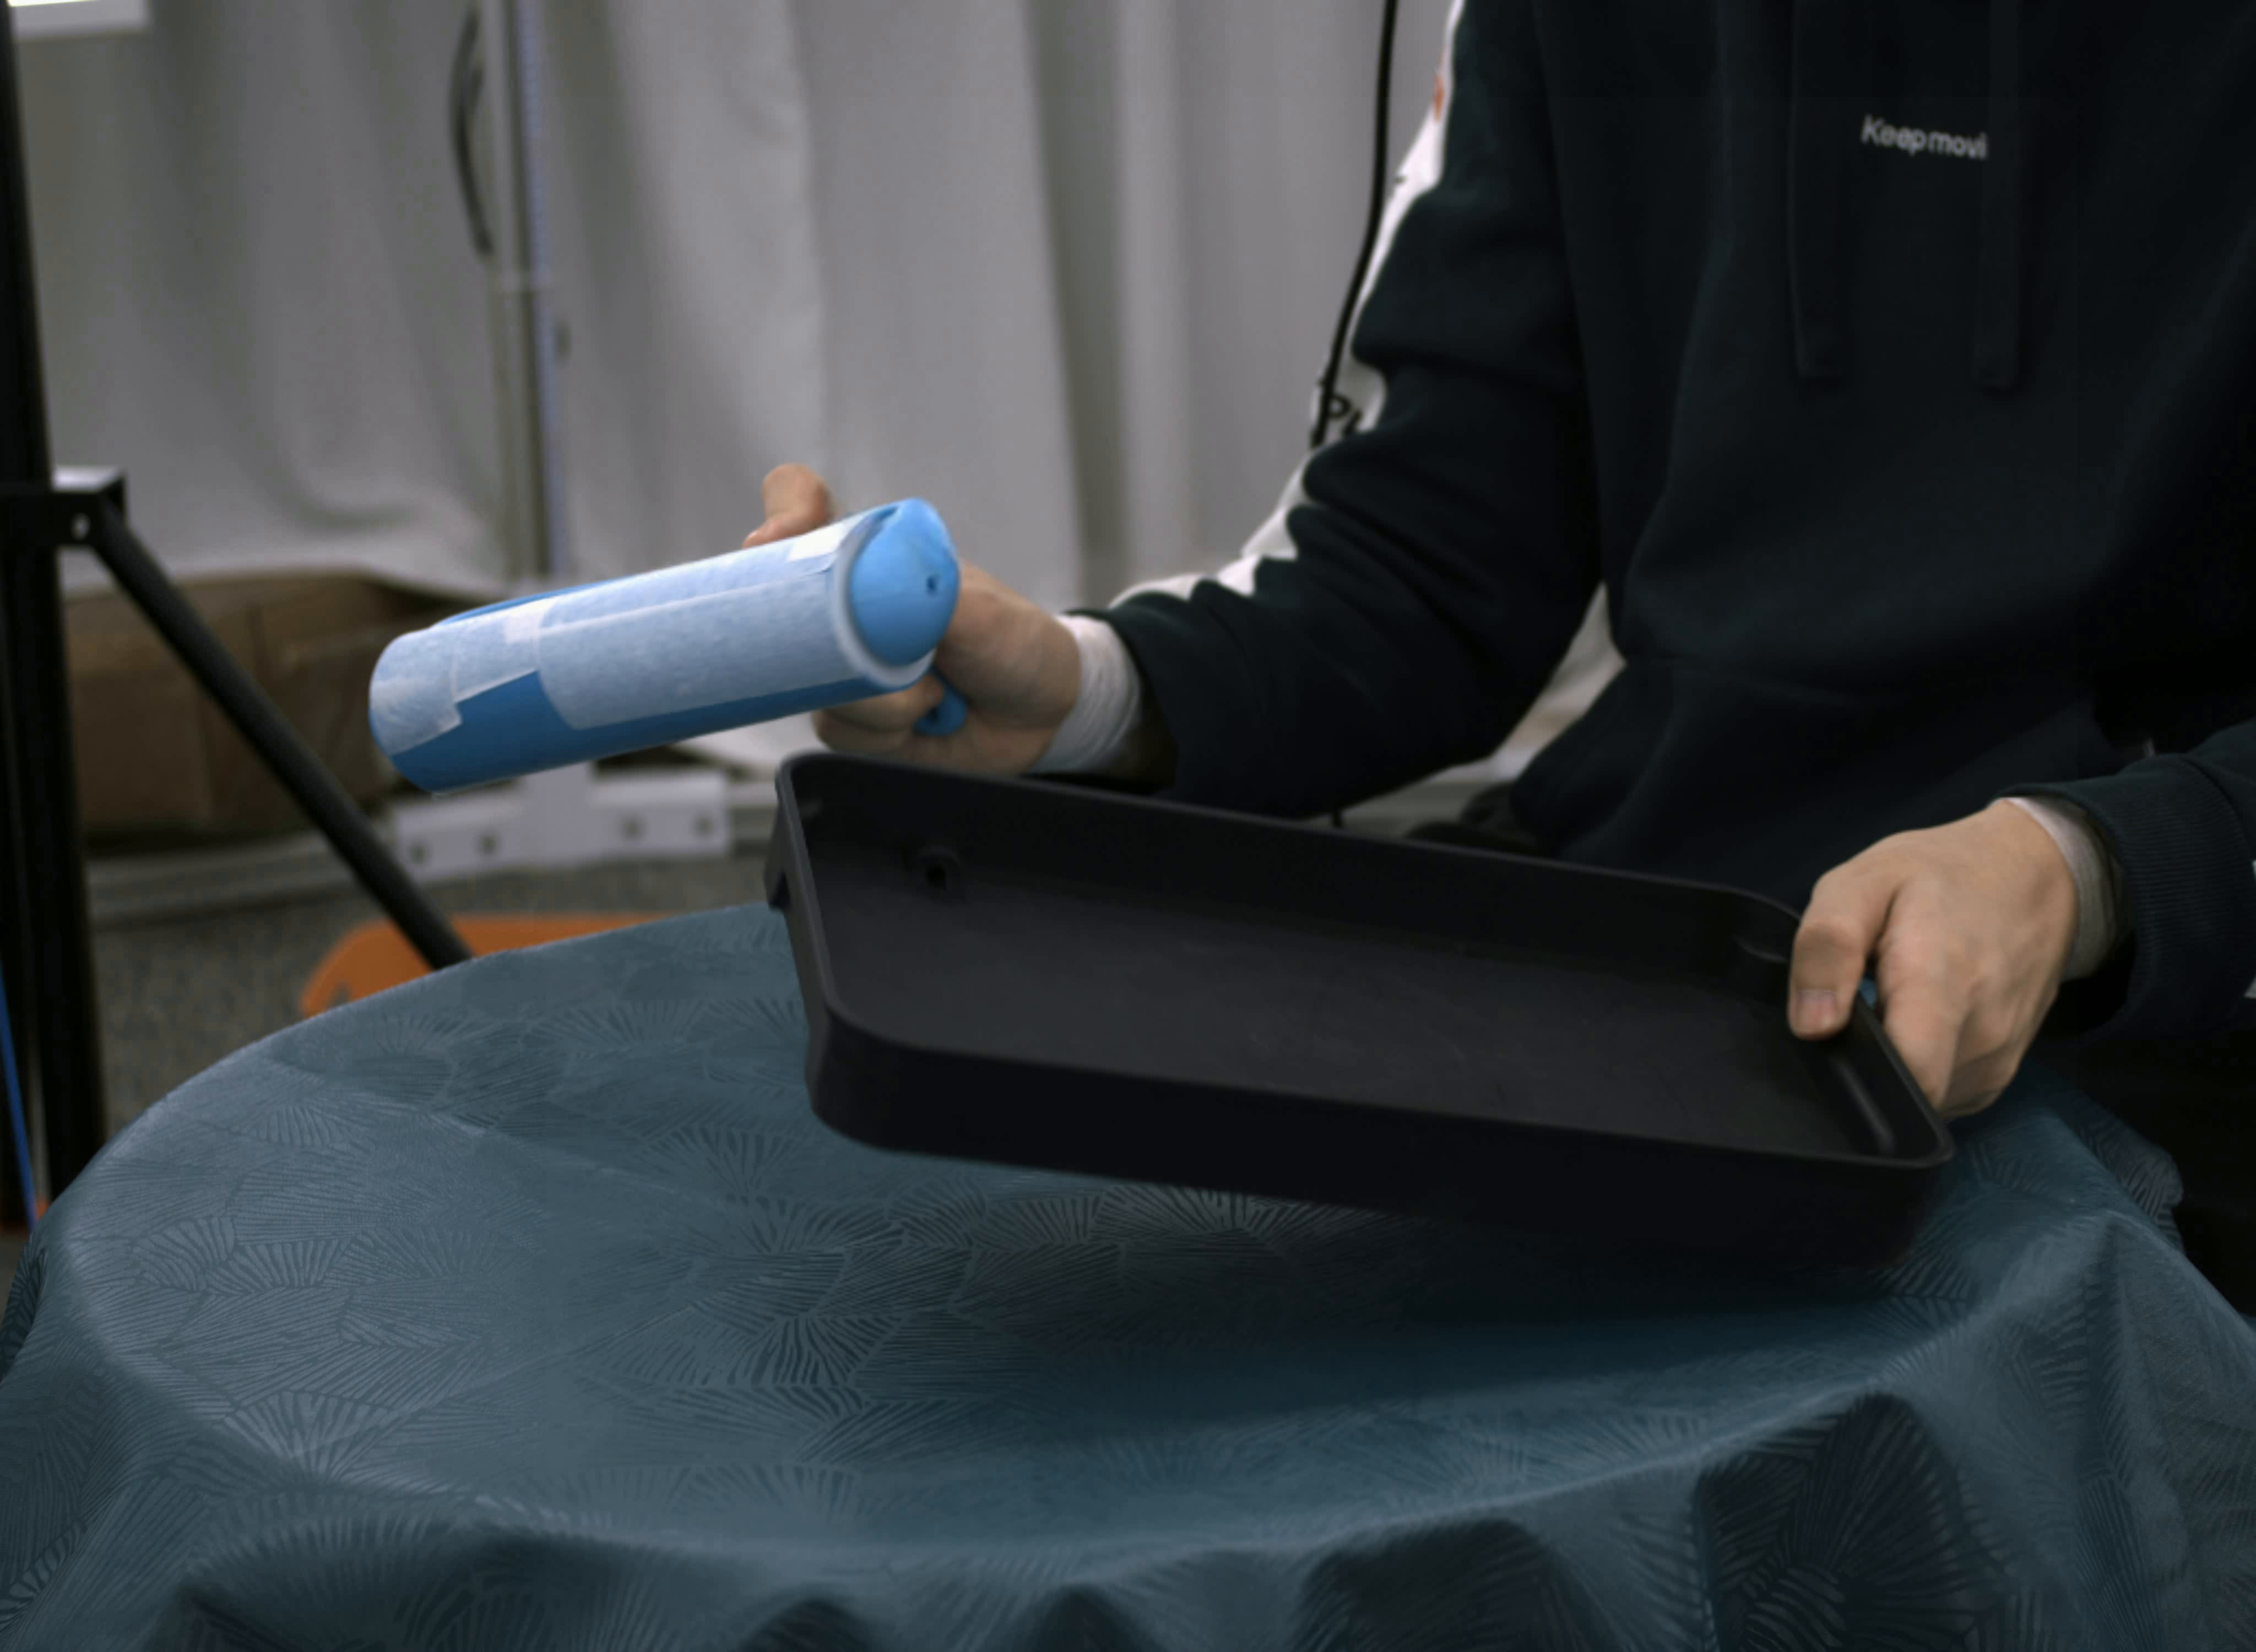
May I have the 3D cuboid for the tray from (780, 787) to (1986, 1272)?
[{"bbox_3d":[0.066,0.056,1.478,0.313,0.037,0.187,6,23,-12],"label":"tray"}]

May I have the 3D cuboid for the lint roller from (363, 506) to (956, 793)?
[{"bbox_3d":[-0.121,-0.055,1.734,0.233,0.068,0.176,-12,-5,34],"label":"lint roller"}]
